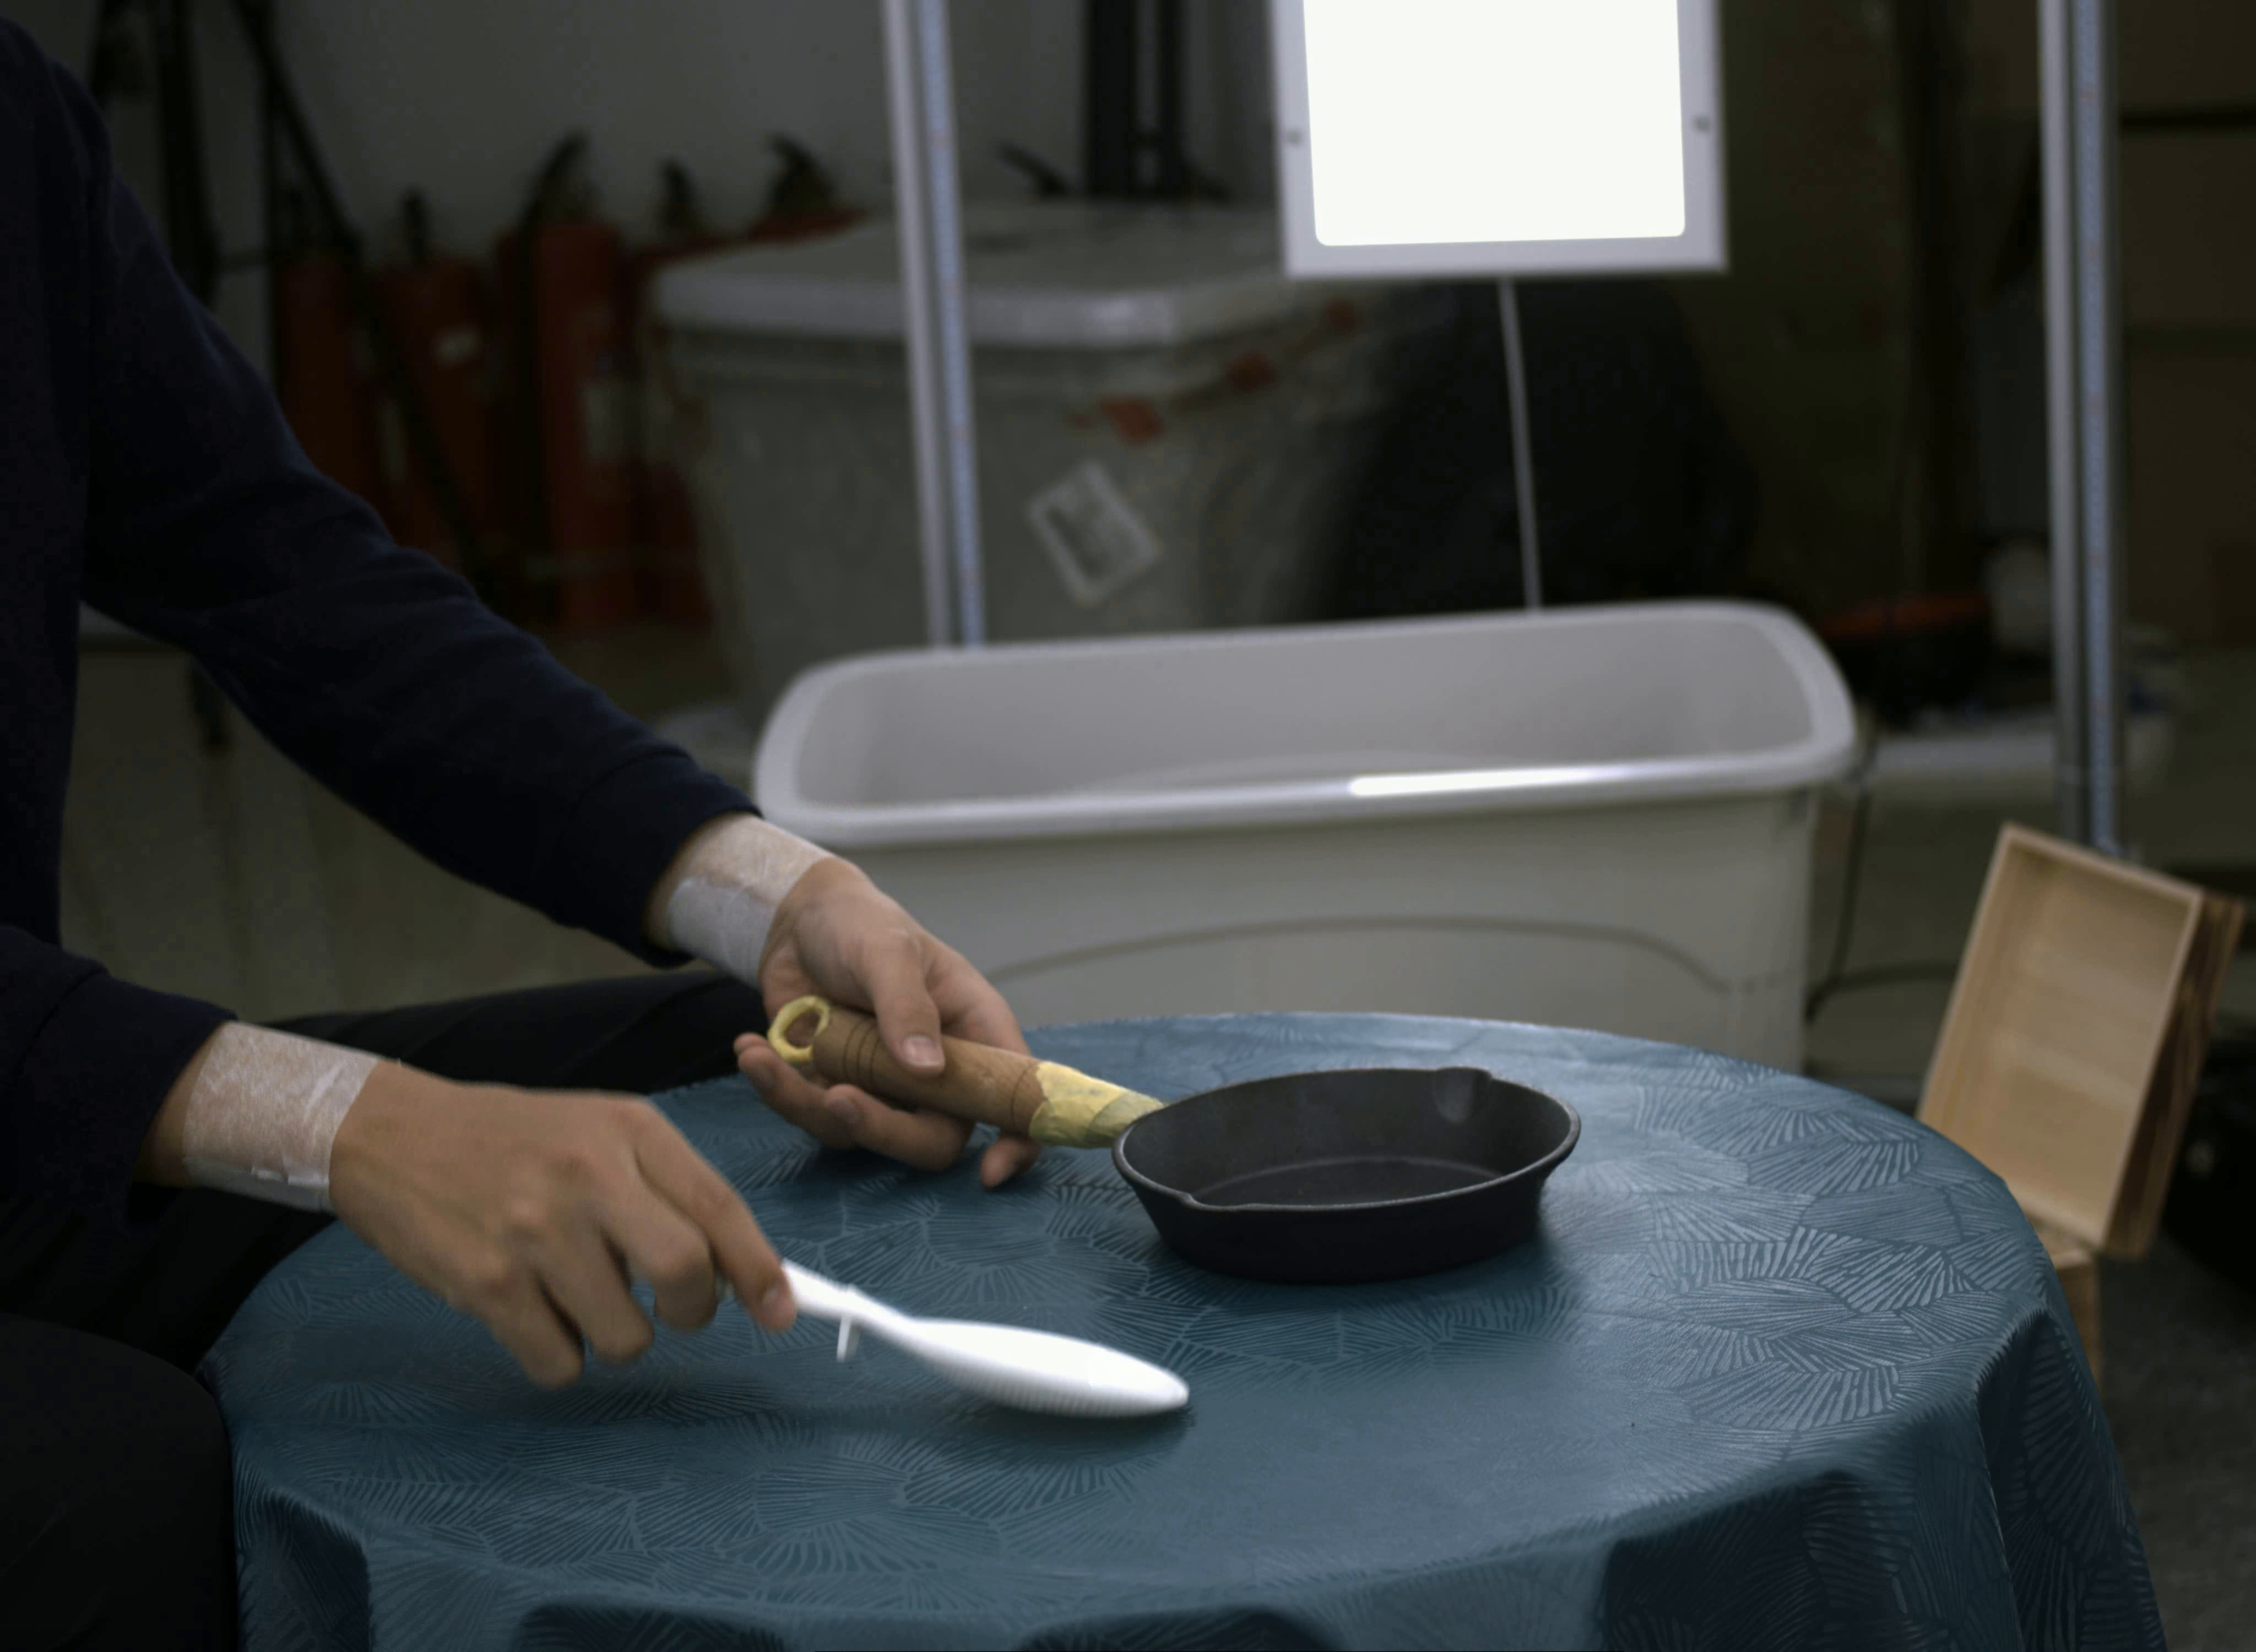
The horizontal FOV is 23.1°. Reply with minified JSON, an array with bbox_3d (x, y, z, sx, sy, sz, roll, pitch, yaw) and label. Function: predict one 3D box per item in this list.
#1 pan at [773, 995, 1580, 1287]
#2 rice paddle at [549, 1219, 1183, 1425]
[{"bbox_3d":[0.007,0.102,1.889,0.331,0.050,0.165,8,19,38],"label":"pan"},{"bbox_3d":[-0.080,0.155,1.698,0.207,0.029,0.067,11,11,19],"label":"rice paddle"}]
